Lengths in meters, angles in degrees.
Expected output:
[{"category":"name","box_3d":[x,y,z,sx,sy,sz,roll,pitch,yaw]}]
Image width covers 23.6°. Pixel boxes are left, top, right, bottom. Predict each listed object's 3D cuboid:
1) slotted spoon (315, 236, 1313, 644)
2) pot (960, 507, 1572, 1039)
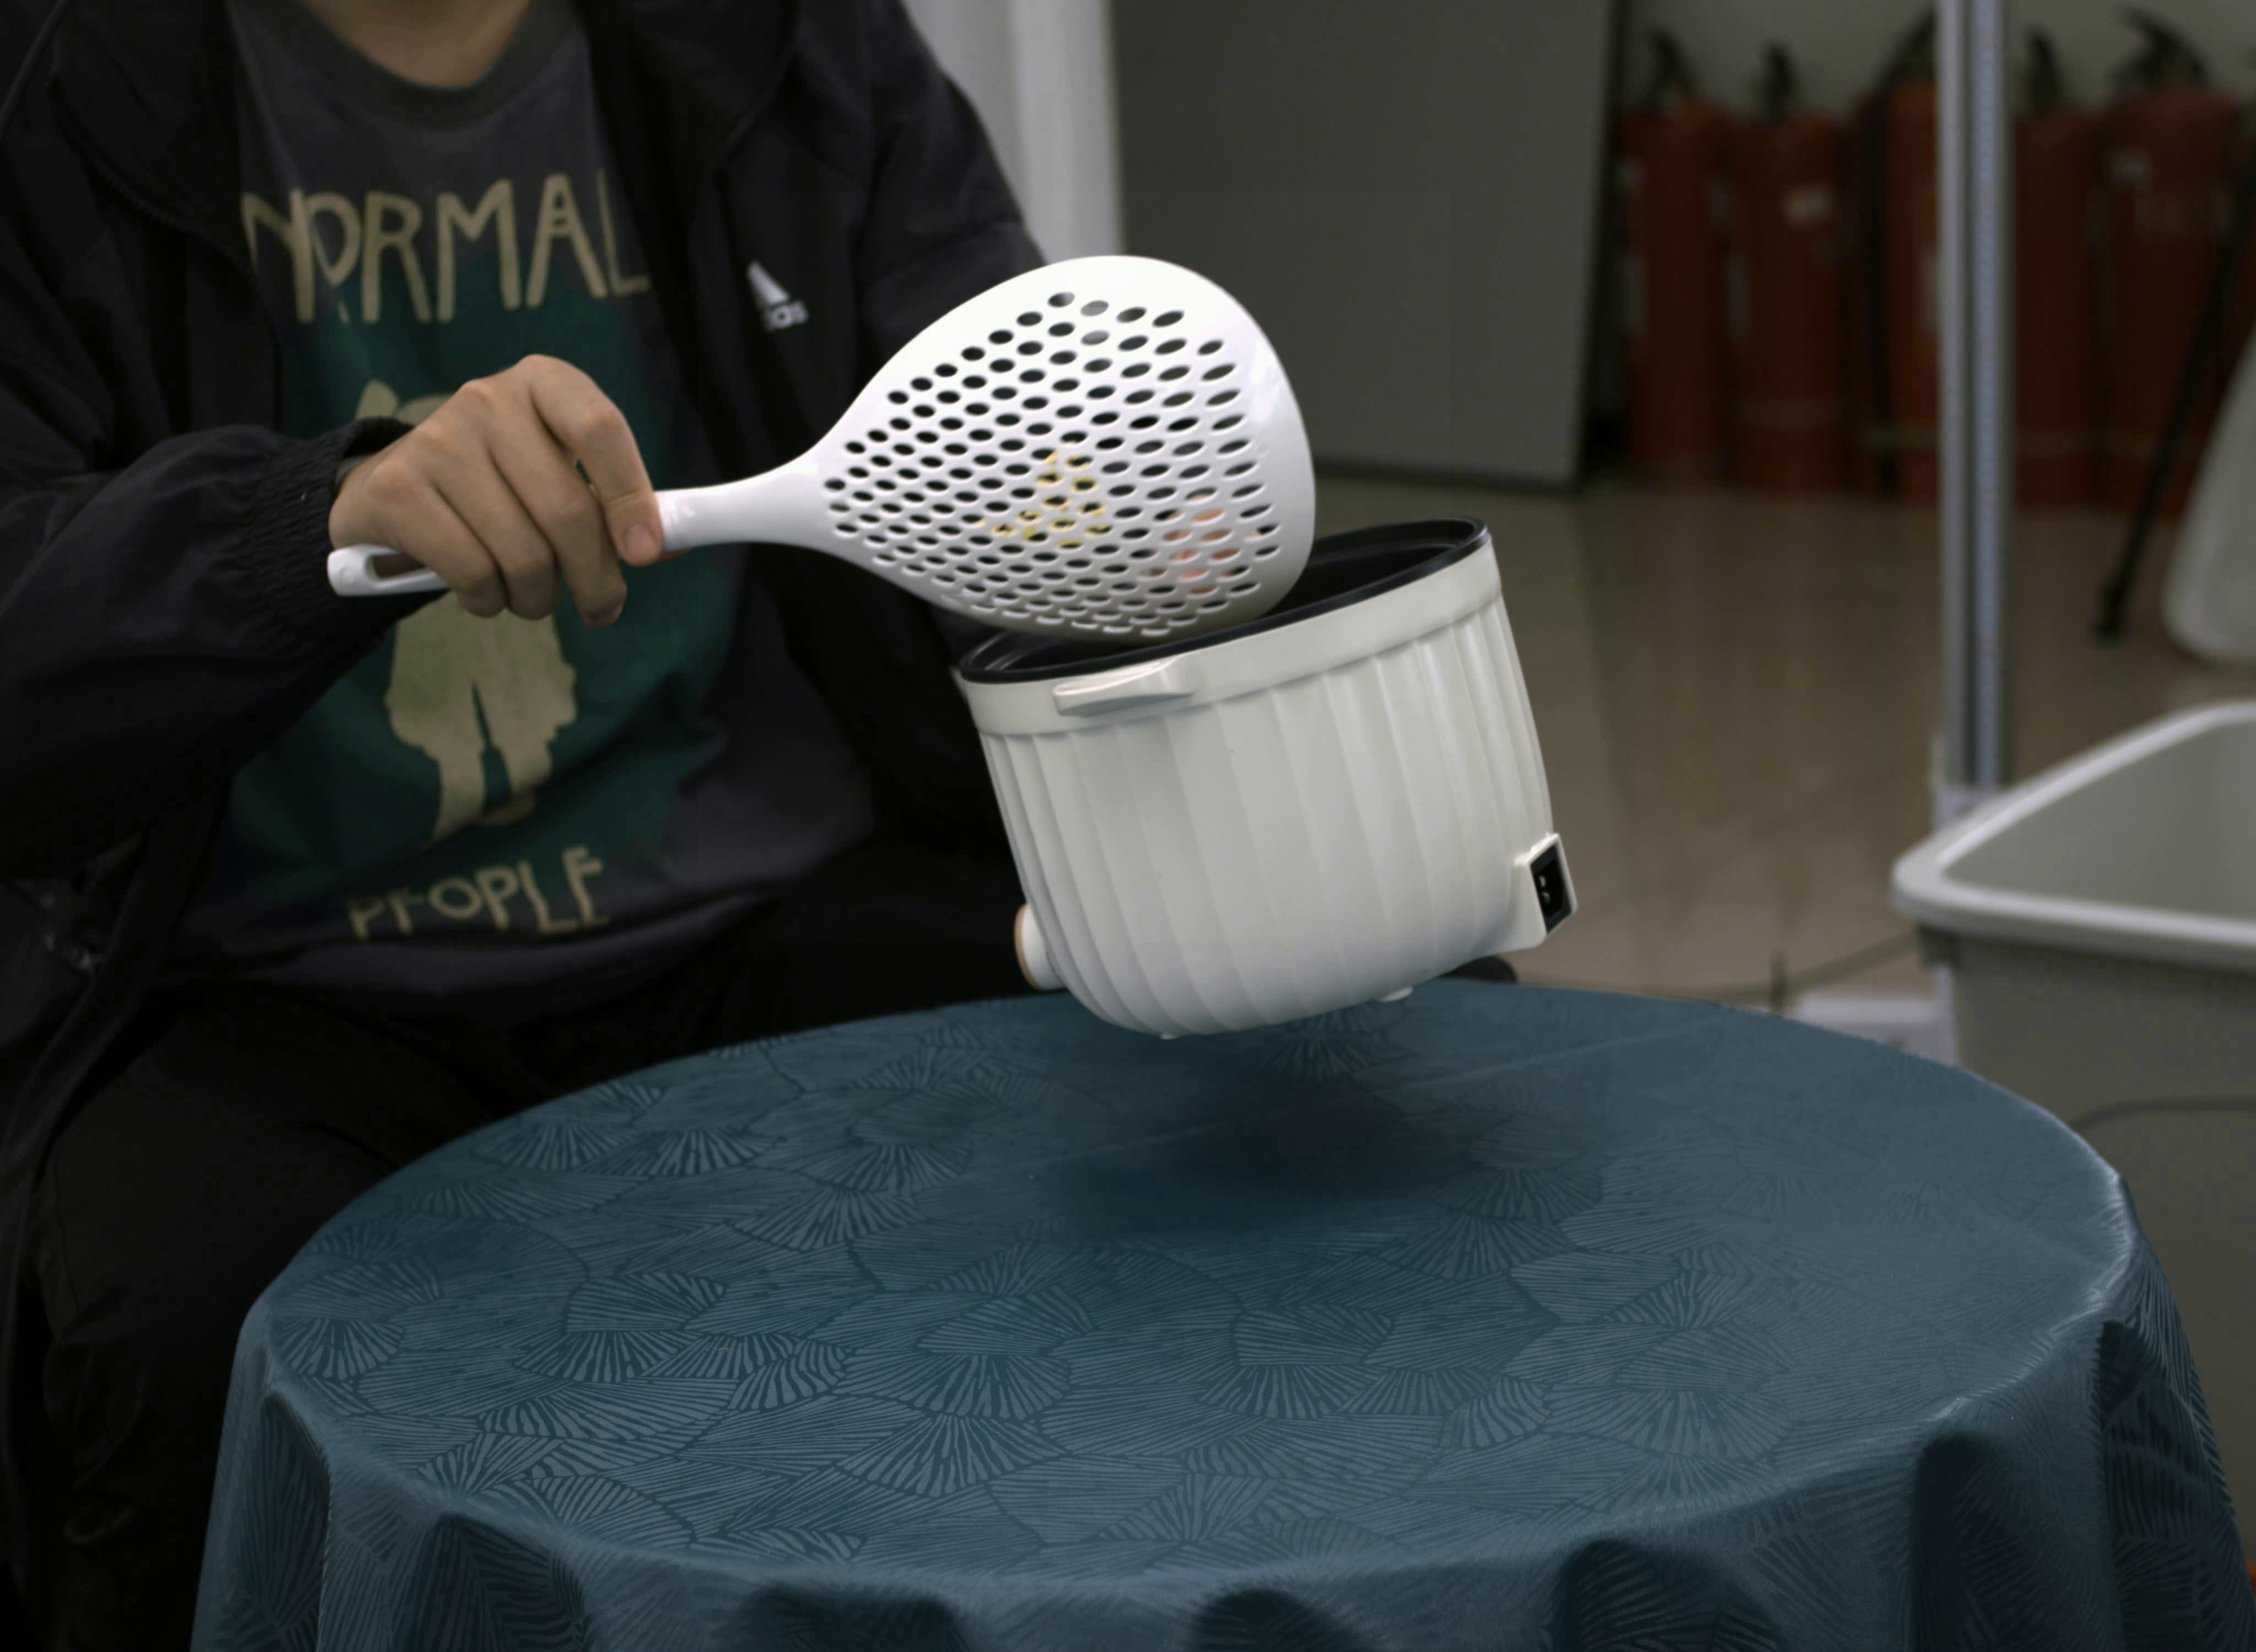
[{"category":"slotted spoon","box_3d":[-0.107,-0.104,1.763,0.348,0.137,0.050,-5,23,27]},{"category":"pot","box_3d":[0.042,-0.014,1.779,0.191,0.144,0.237,-8,10,24]}]
